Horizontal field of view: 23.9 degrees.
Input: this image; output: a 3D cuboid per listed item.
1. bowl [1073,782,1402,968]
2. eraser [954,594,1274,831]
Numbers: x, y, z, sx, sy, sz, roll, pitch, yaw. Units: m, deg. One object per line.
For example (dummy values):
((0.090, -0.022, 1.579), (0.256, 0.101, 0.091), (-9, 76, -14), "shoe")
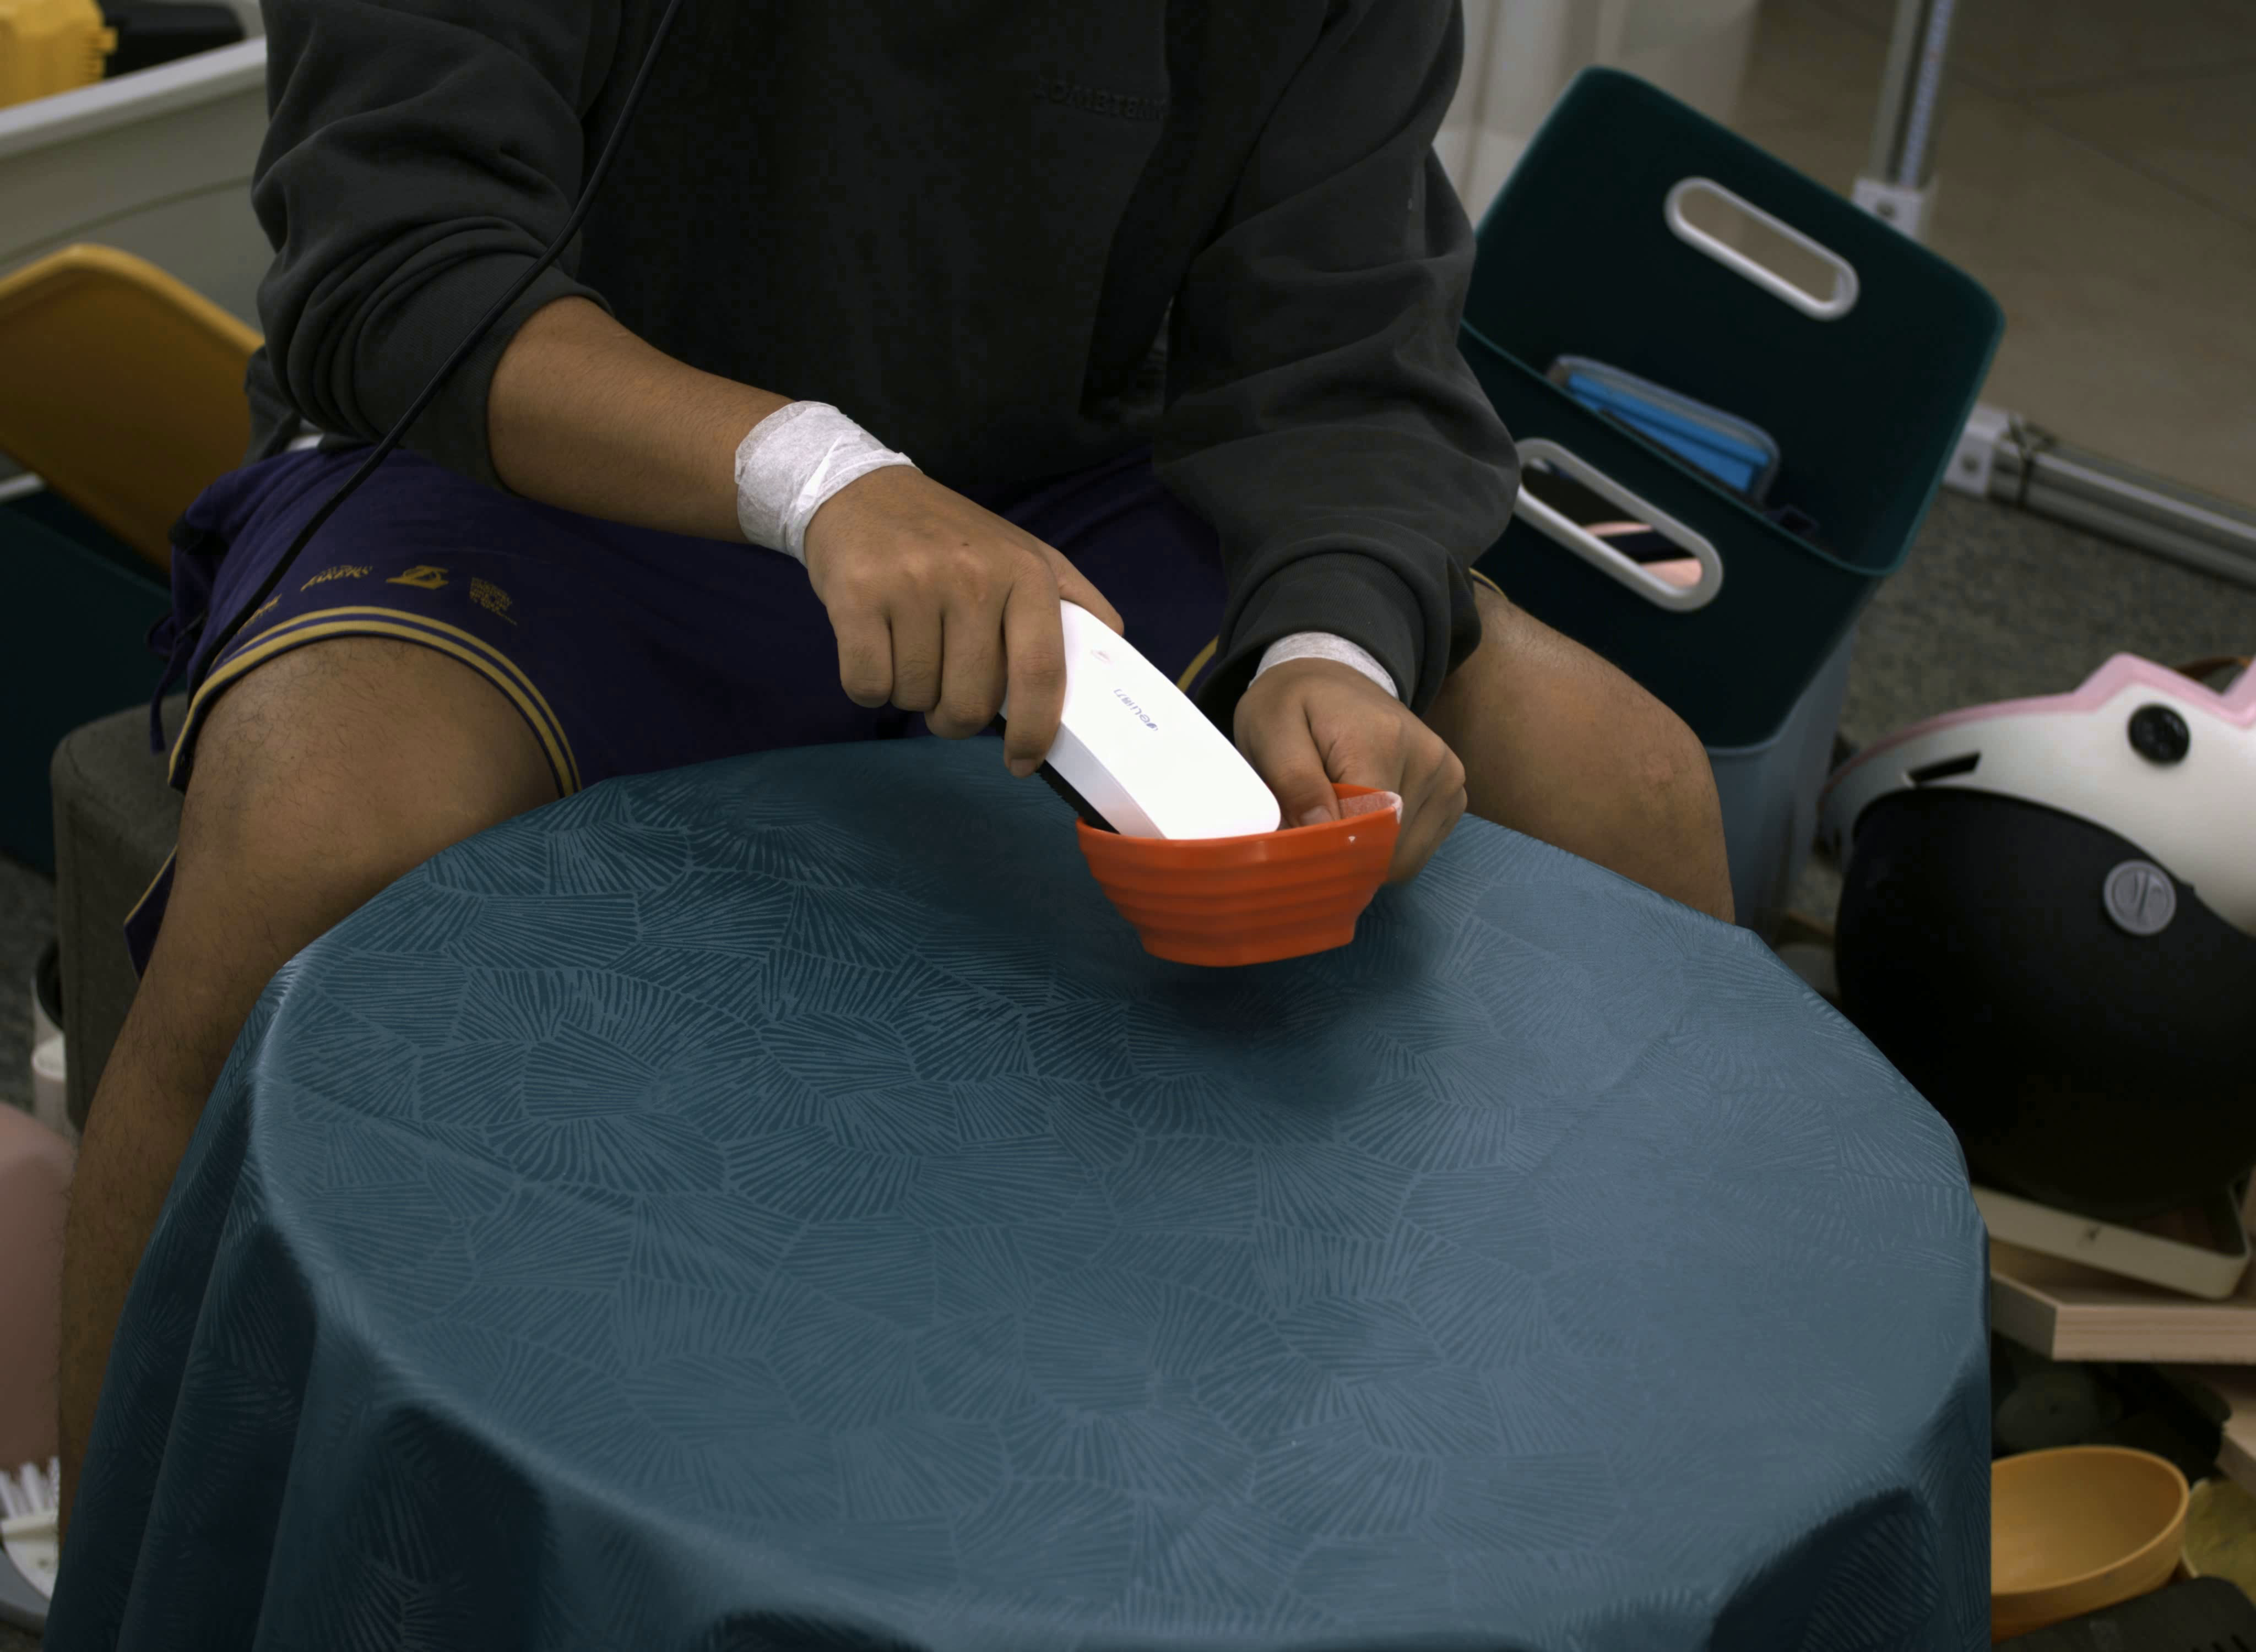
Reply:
((0.041, 0.018, 1.900), (0.118, 0.051, 0.119), (-6, 9, 1), "bowl")
((-0.005, -0.032, 1.930), (0.063, 0.034, 0.132), (-18, 58, -45), "eraser")
